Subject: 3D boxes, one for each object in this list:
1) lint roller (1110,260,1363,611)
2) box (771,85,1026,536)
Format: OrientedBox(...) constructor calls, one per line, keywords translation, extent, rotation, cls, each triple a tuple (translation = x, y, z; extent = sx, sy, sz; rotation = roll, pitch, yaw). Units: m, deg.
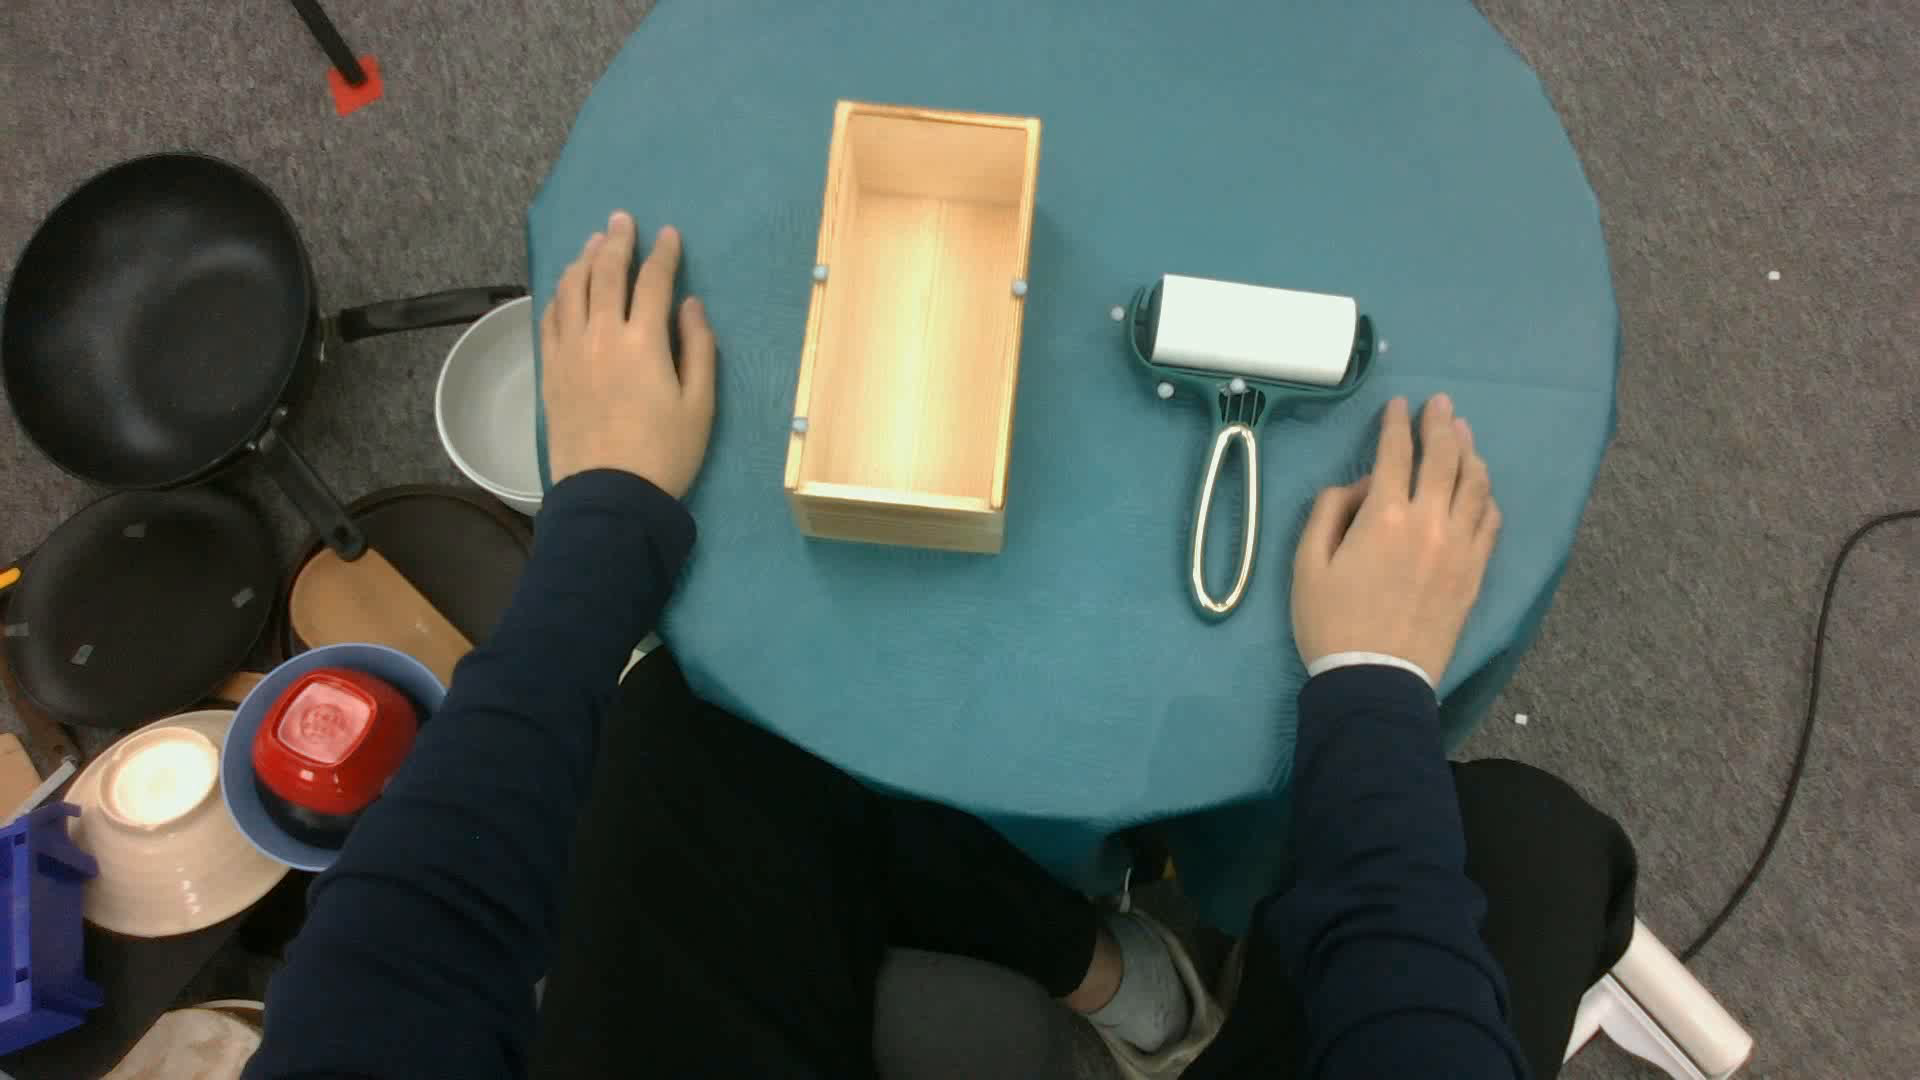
OrientedBox(translation=(0.136, -0.055, 0.720), extent=(0.134, 0.048, 0.180), rotation=(8, 78, 1), cls="lint roller")
OrientedBox(translation=(-0.029, -0.117, 0.713), extent=(0.107, 0.080, 0.212), rotation=(5, 75, 0), cls="box")
